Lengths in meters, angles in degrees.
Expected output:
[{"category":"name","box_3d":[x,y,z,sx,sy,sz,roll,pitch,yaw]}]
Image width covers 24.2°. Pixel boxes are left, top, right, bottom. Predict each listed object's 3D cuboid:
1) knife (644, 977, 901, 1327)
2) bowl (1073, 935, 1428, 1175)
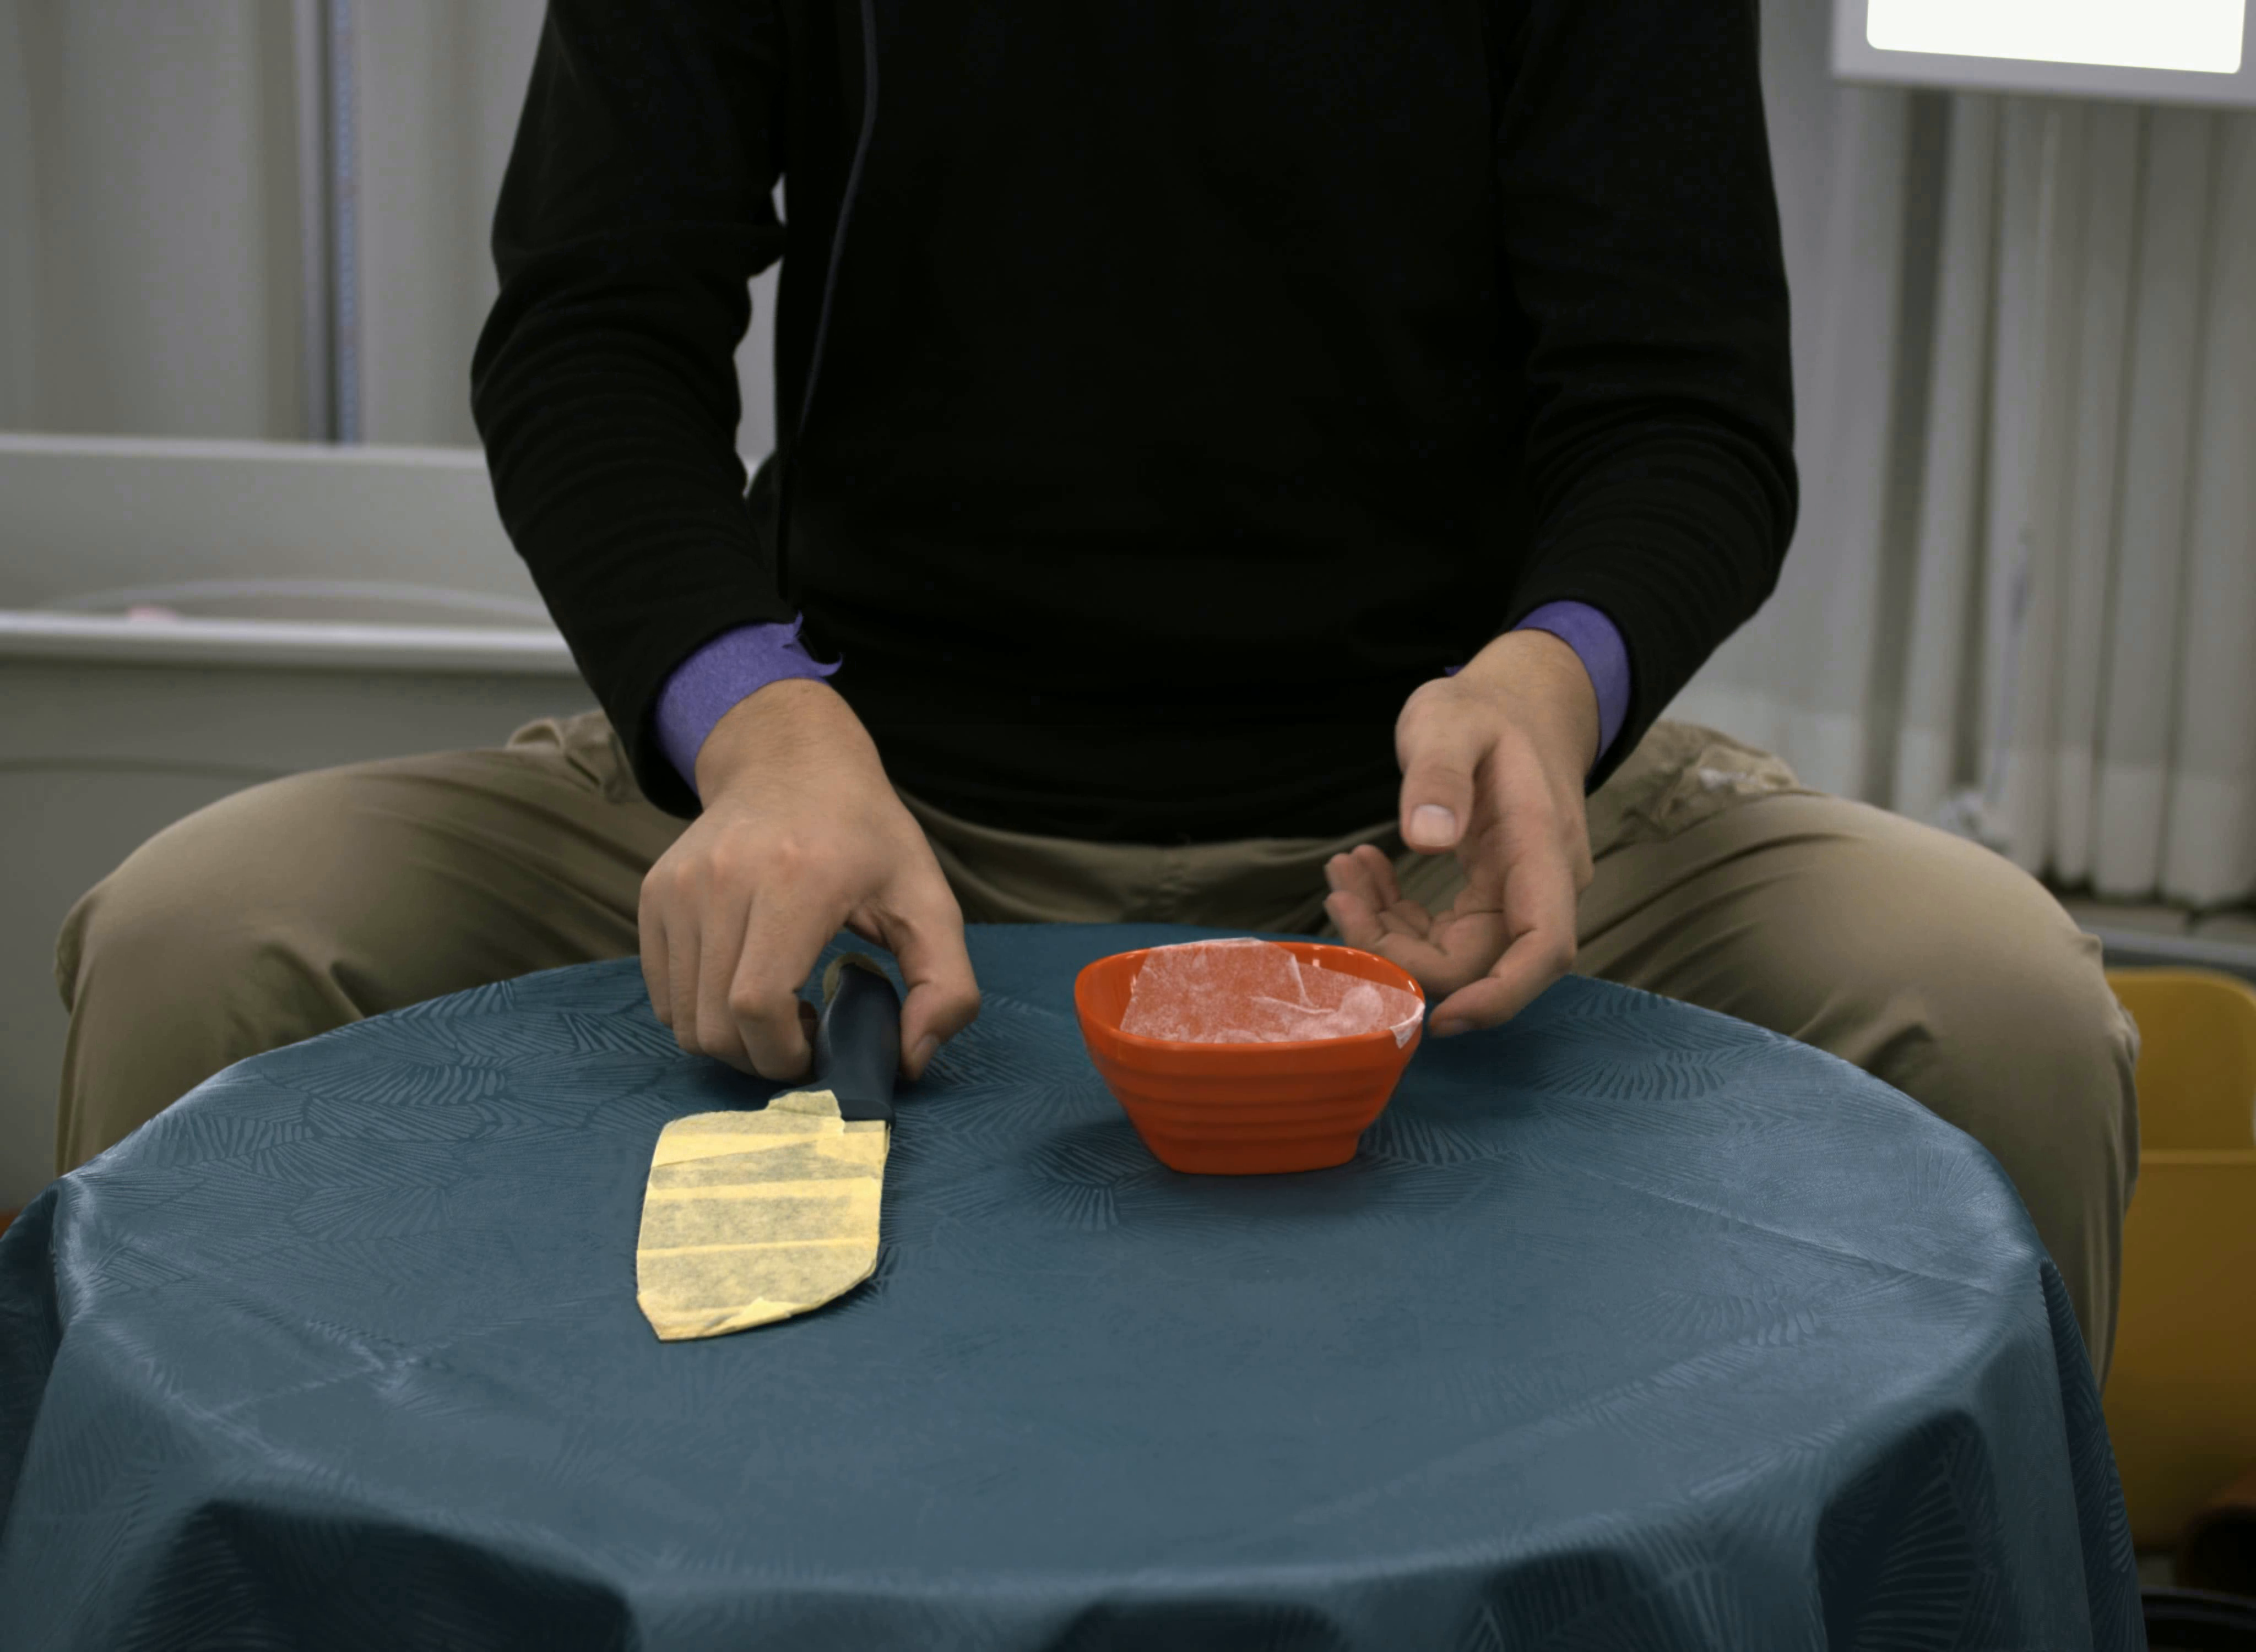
[{"category":"knife","box_3d":[-0.107,0.100,1.633,0.081,0.027,0.288,1,17,3]},{"category":"bowl","box_3d":[0.038,0.074,1.662,0.118,0.052,0.118,-1,17,1]}]
